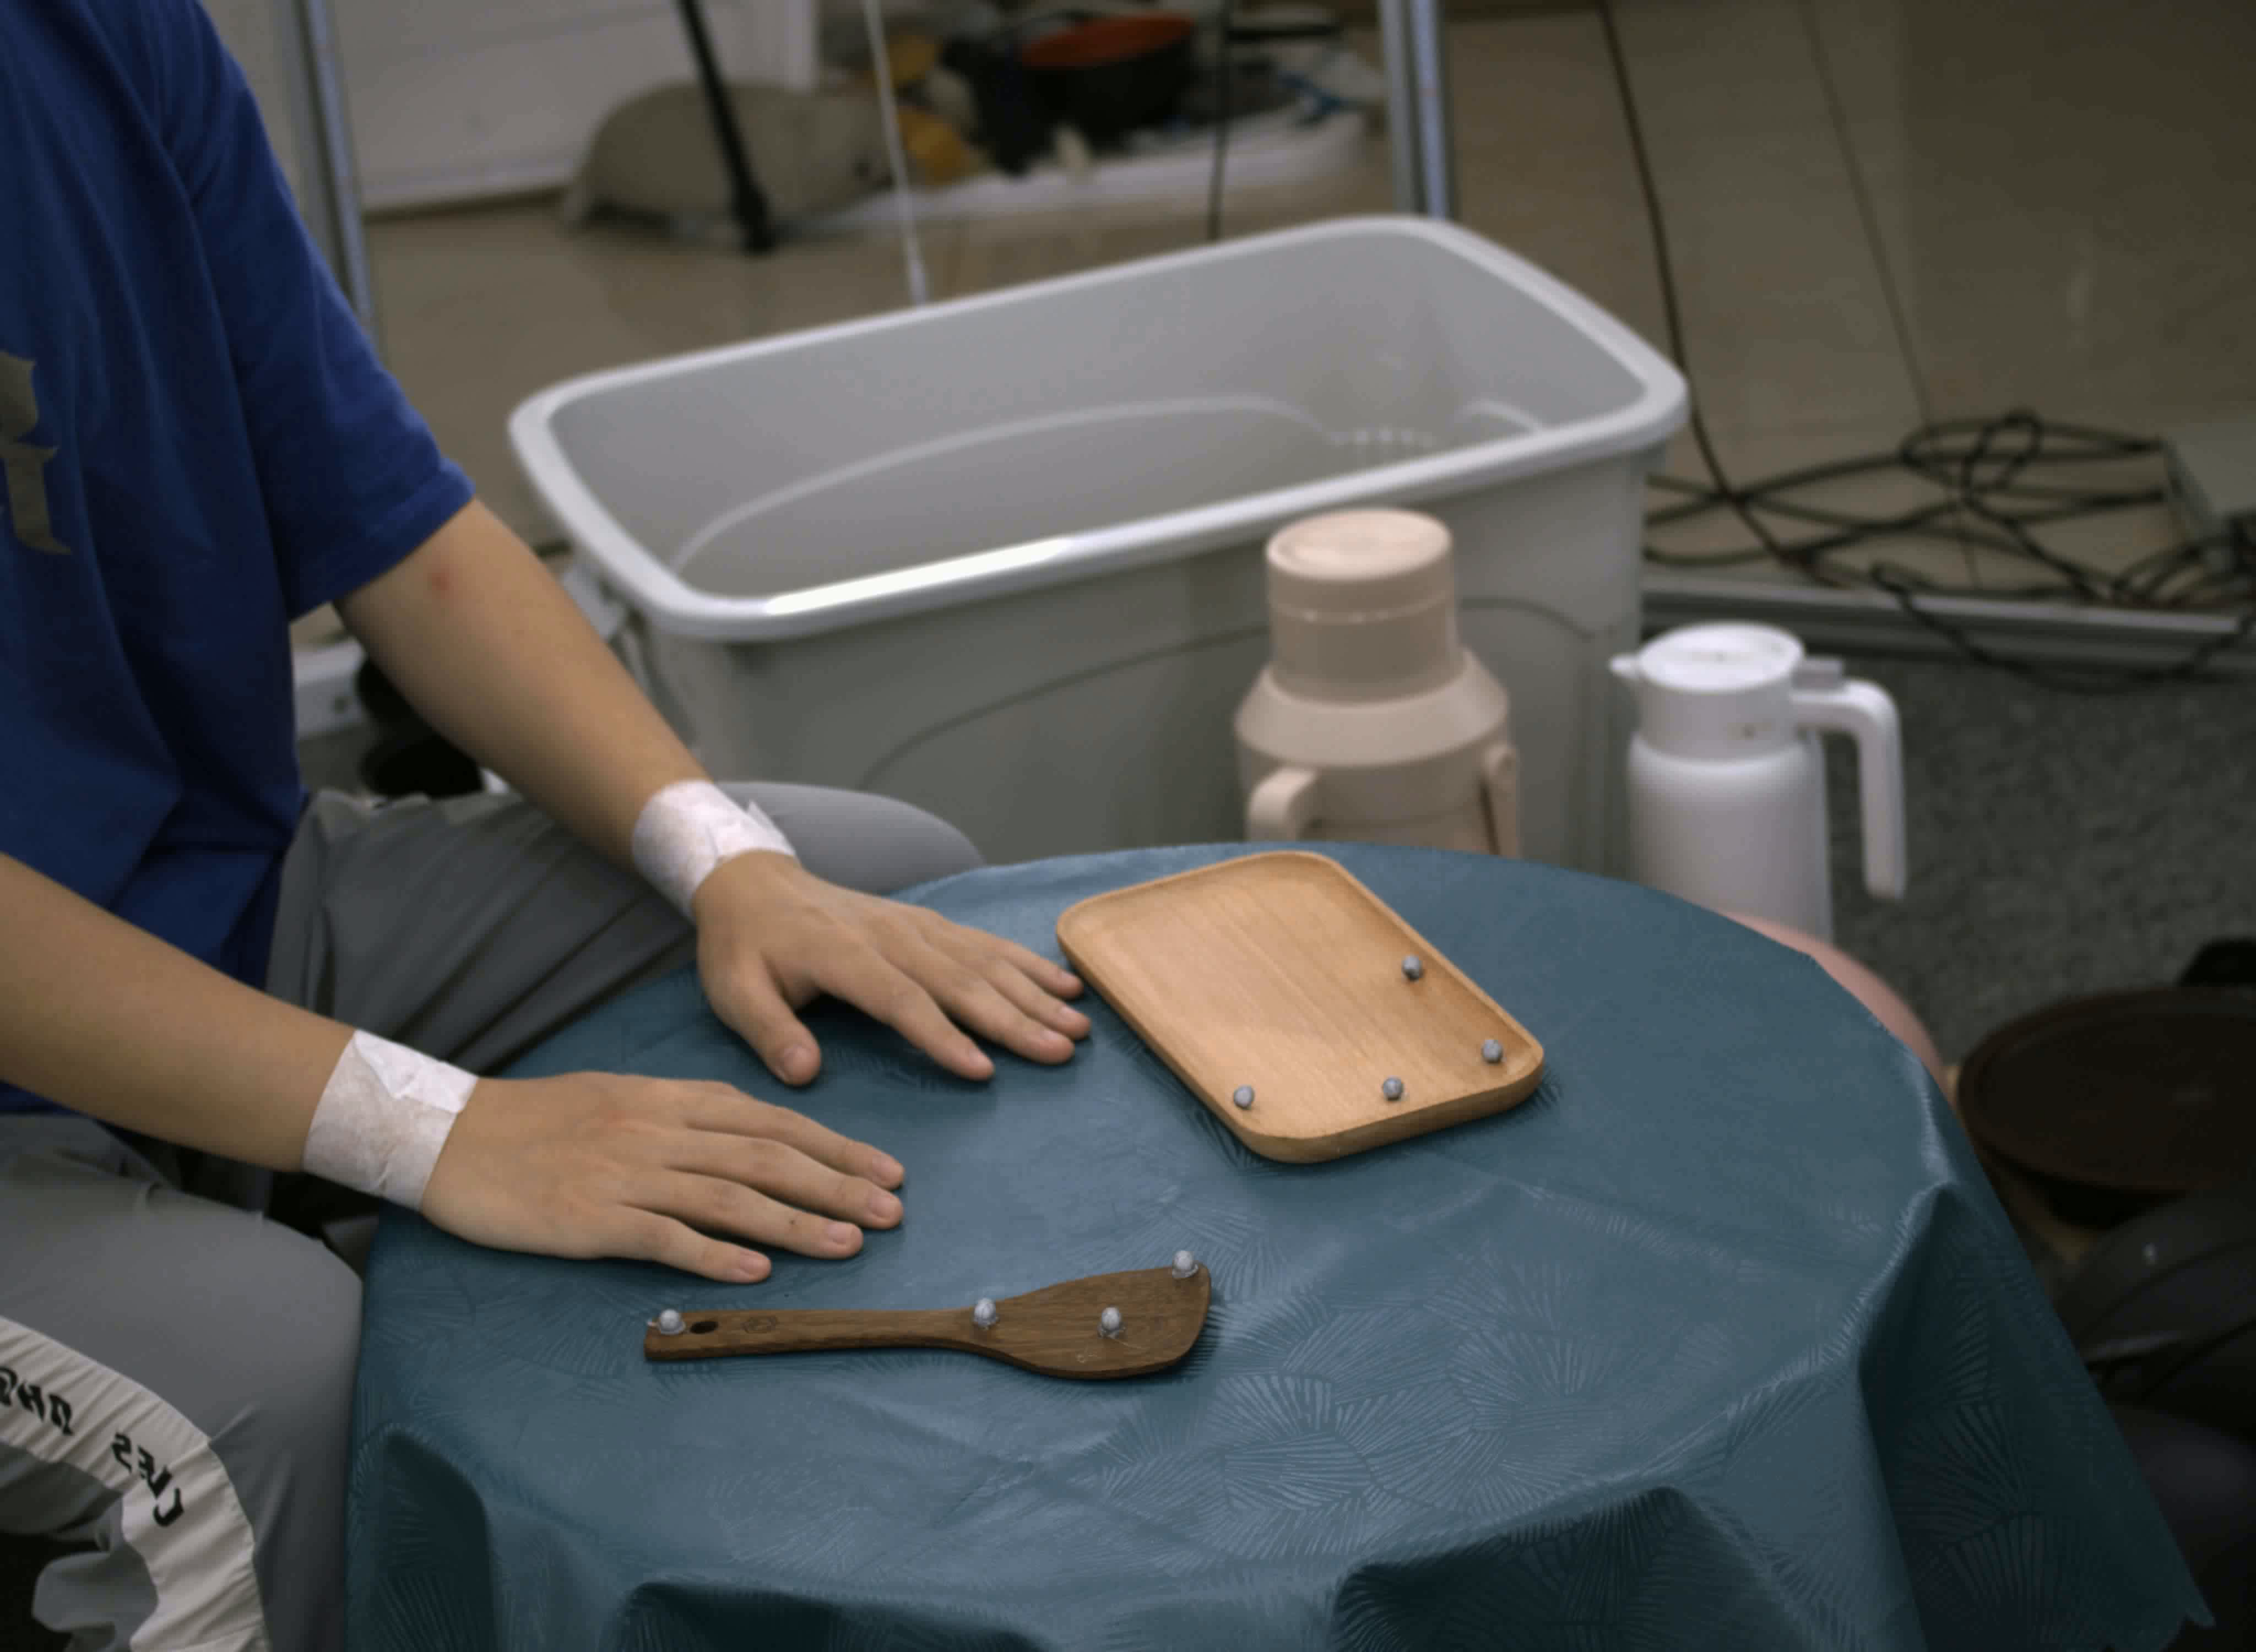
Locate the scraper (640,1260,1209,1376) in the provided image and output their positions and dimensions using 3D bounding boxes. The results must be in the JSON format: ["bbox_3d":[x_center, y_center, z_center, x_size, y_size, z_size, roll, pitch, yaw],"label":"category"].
[{"bbox_3d":[-0.075,0.182,2.062,0.211,0.011,0.075,-3,24,11],"label":"scraper"}]

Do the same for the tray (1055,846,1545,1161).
[{"bbox_3d":[0.066,0.069,2.262,0.130,0.023,0.247,-12,24,-17],"label":"tray"}]
